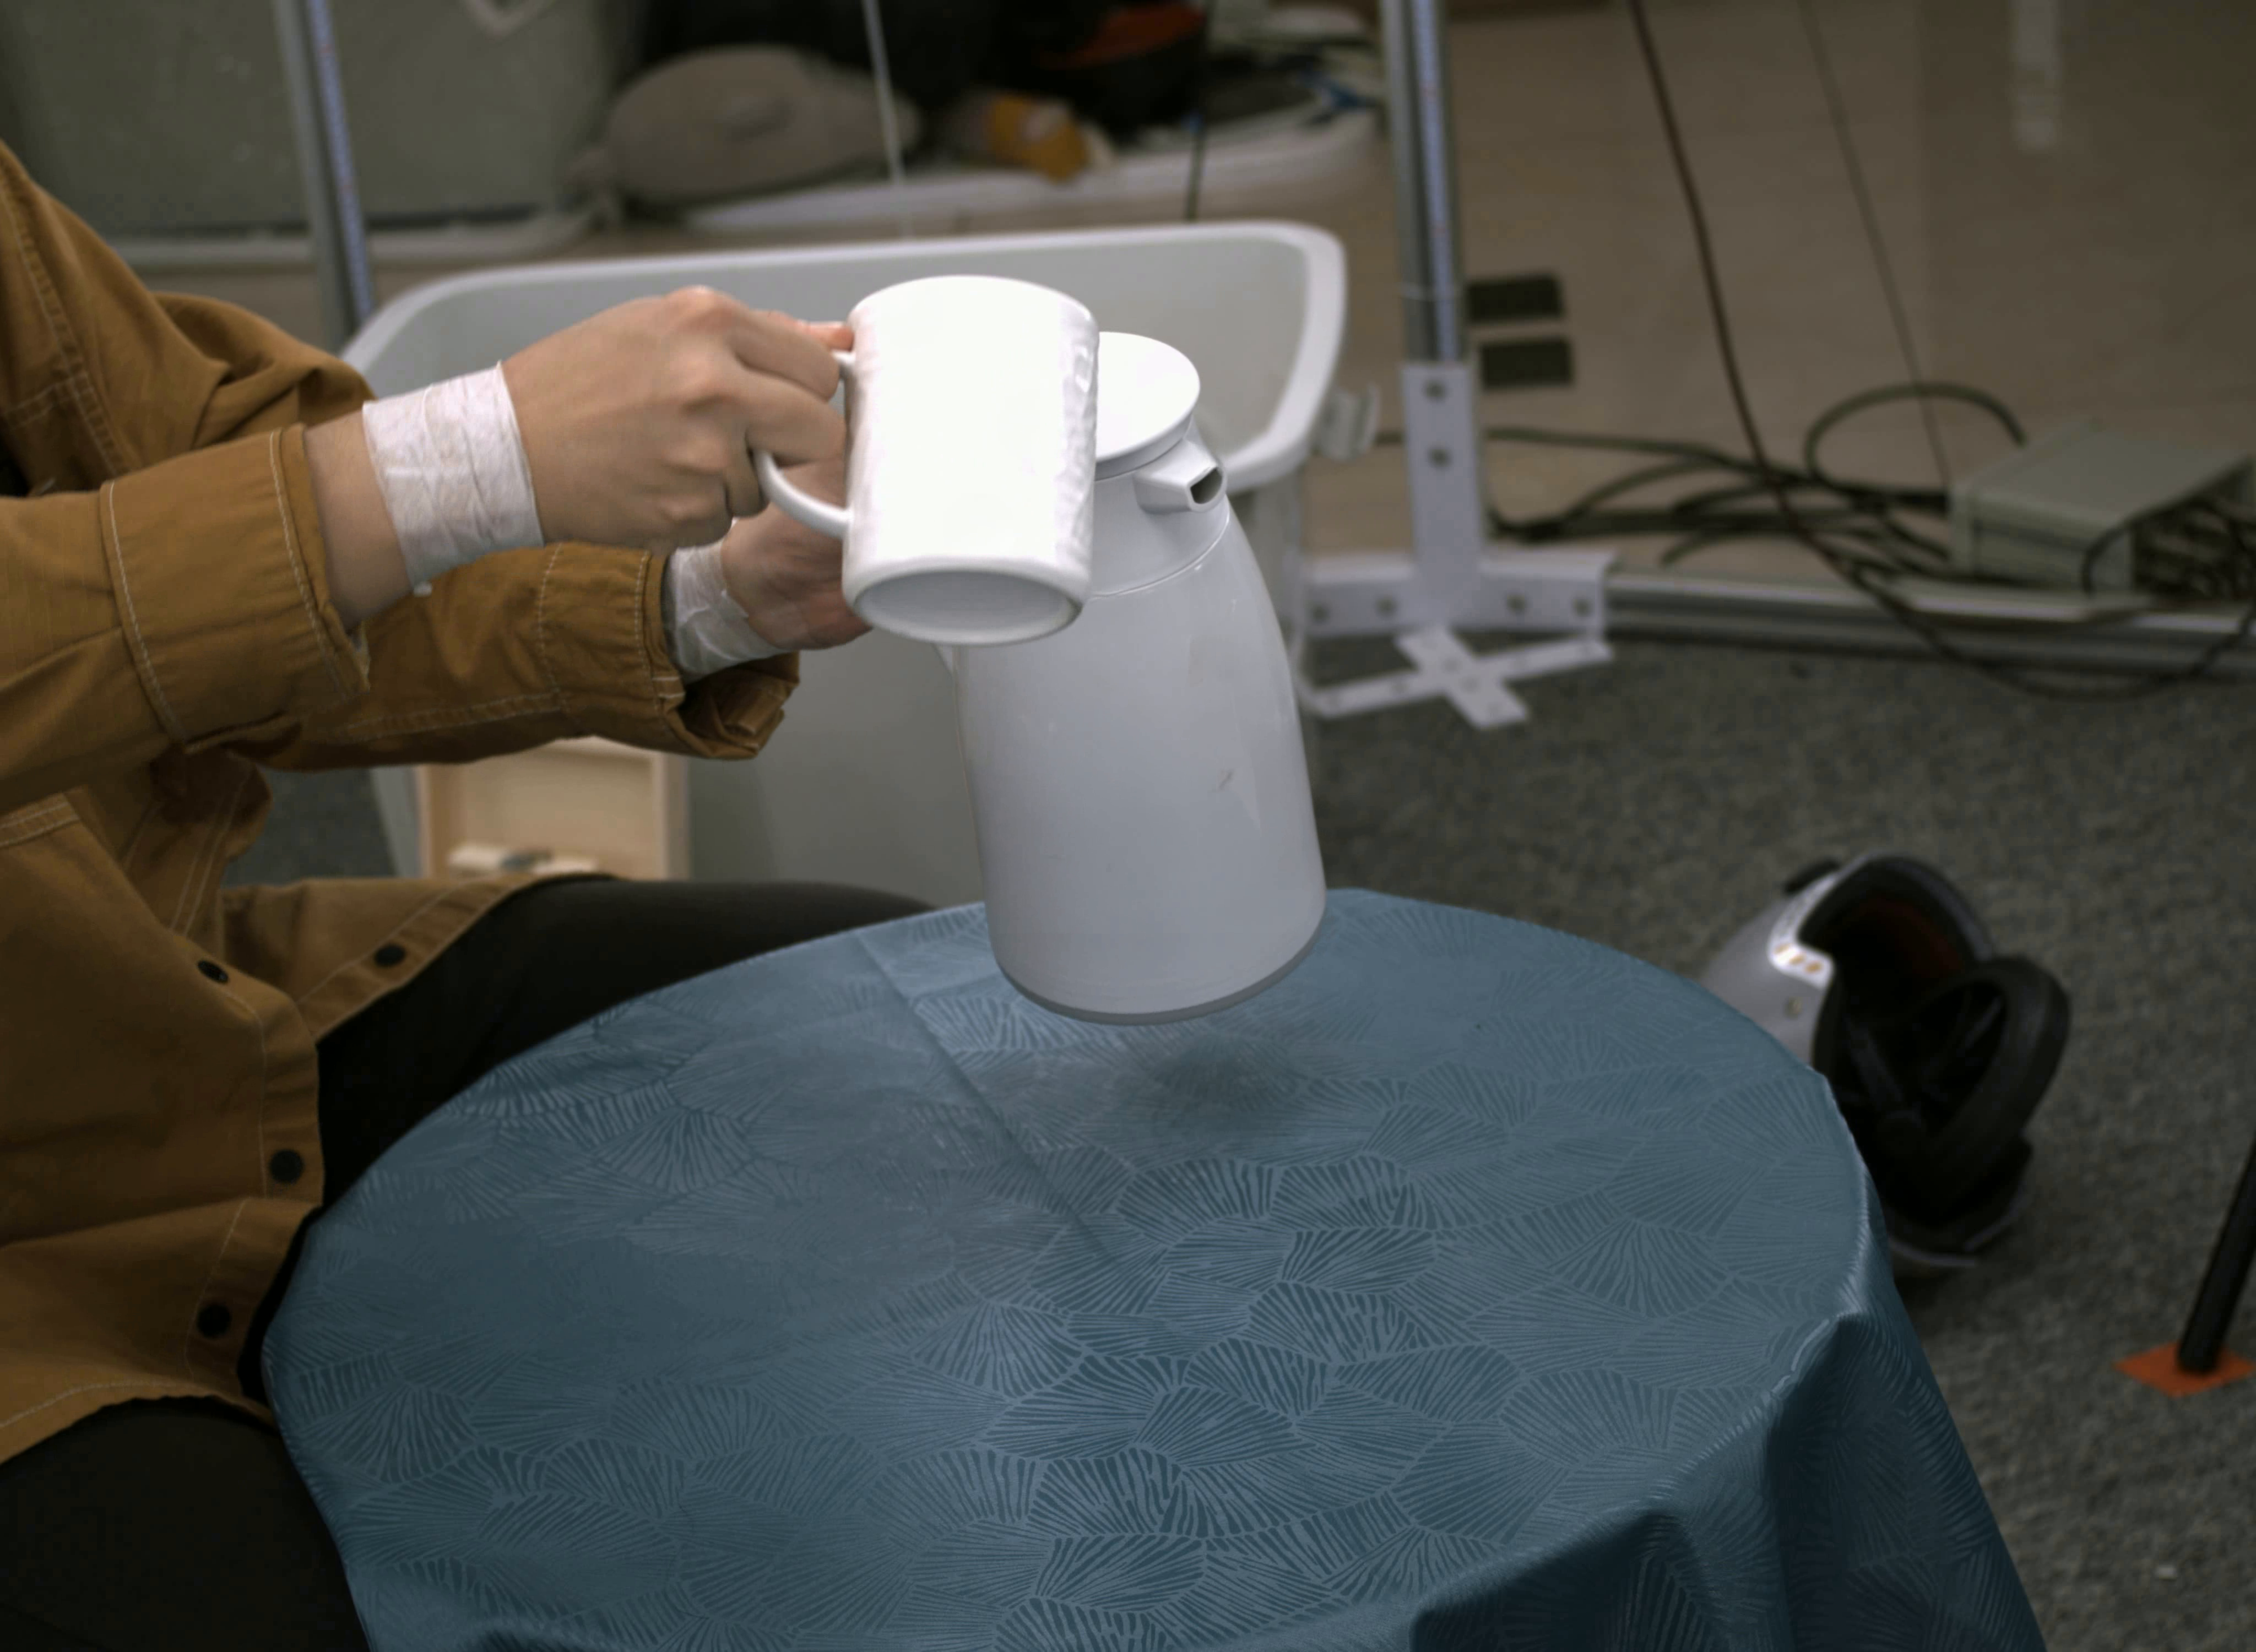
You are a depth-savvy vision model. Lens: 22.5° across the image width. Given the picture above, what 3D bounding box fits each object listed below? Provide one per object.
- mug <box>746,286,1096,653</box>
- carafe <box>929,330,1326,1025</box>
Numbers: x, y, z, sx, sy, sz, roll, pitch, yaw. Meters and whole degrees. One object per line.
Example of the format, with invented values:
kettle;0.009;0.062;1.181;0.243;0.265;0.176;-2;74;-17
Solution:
mug;-0.069;-0.120;1.892;0.118;0.101;0.085;5;-17;-16
carafe;-0.019;-0.067;2.134;0.166;0.253;0.131;22;47;36
